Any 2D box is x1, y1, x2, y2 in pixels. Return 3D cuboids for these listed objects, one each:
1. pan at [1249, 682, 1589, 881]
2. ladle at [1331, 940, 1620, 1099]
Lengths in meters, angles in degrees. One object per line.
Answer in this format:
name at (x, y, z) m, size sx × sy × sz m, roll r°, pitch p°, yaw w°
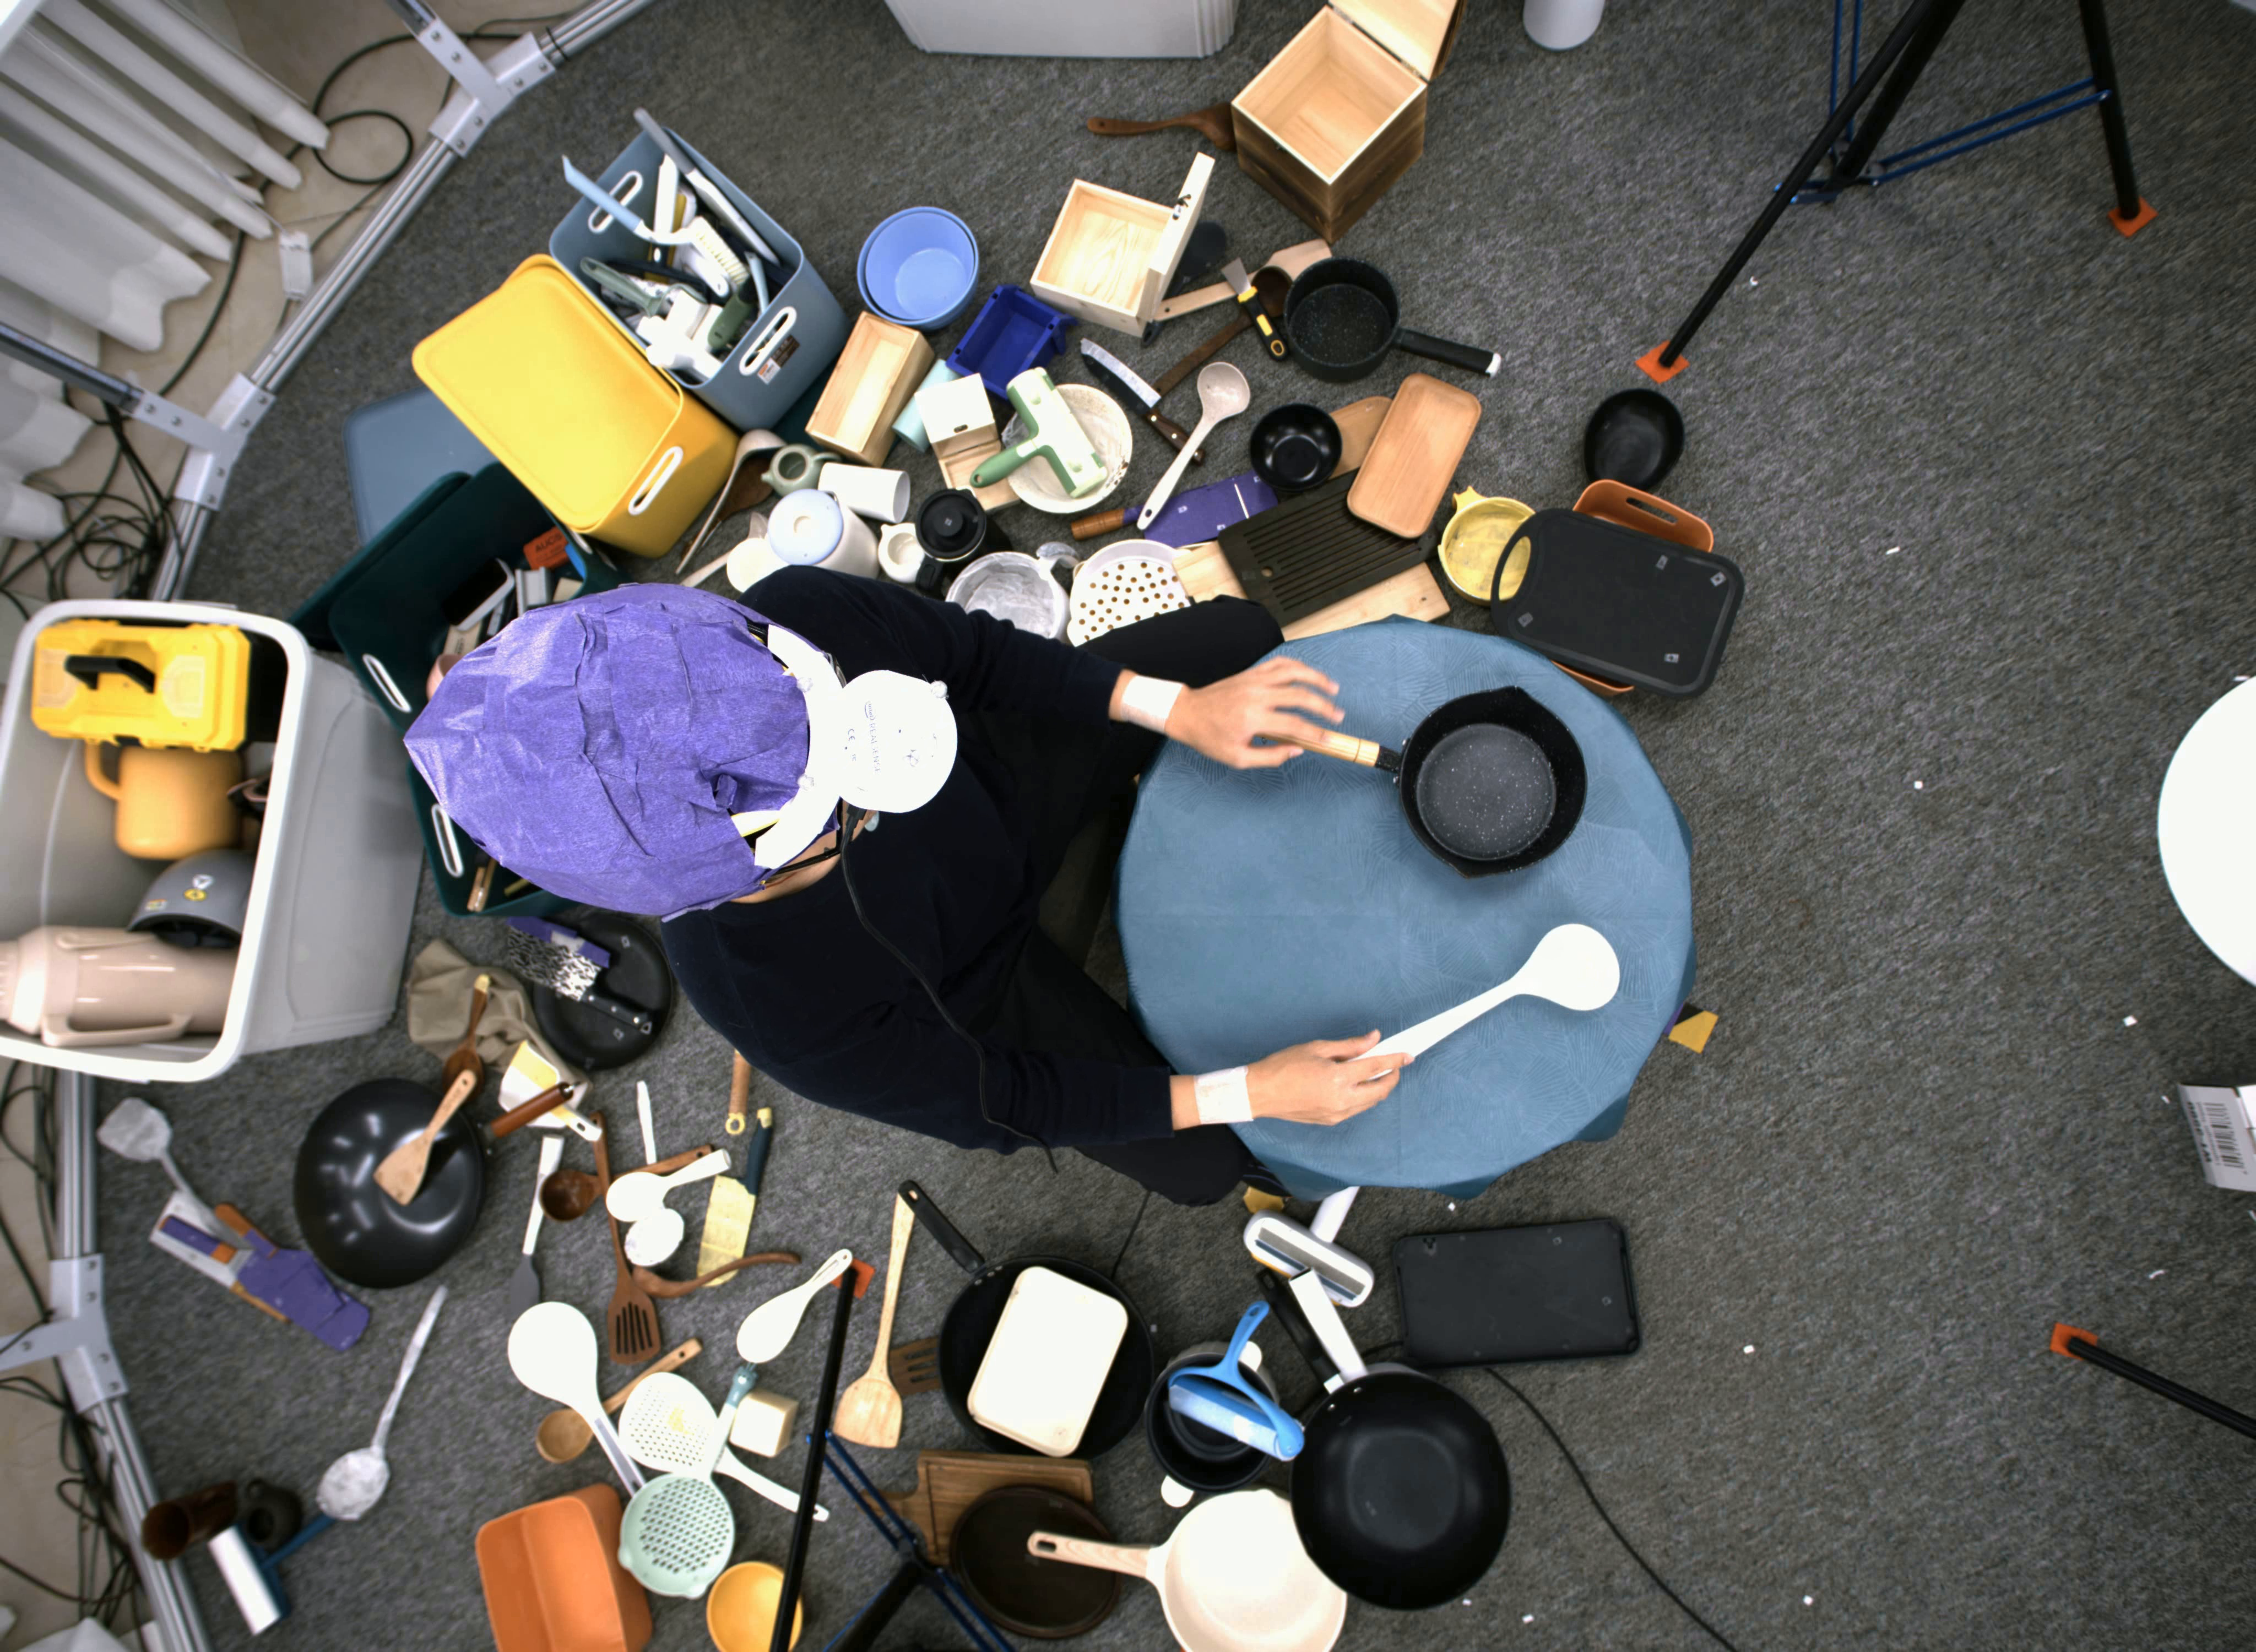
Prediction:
pan at (0.292, -0.060, 1.408) m, size 0.343 × 0.108 × 0.207 m, roll 13°, pitch 90°, yaw 10°
ladle at (0.343, 0.197, 1.366) m, size 0.292 × 0.069 × 0.091 m, roll -25°, pitch 103°, yaw -5°
